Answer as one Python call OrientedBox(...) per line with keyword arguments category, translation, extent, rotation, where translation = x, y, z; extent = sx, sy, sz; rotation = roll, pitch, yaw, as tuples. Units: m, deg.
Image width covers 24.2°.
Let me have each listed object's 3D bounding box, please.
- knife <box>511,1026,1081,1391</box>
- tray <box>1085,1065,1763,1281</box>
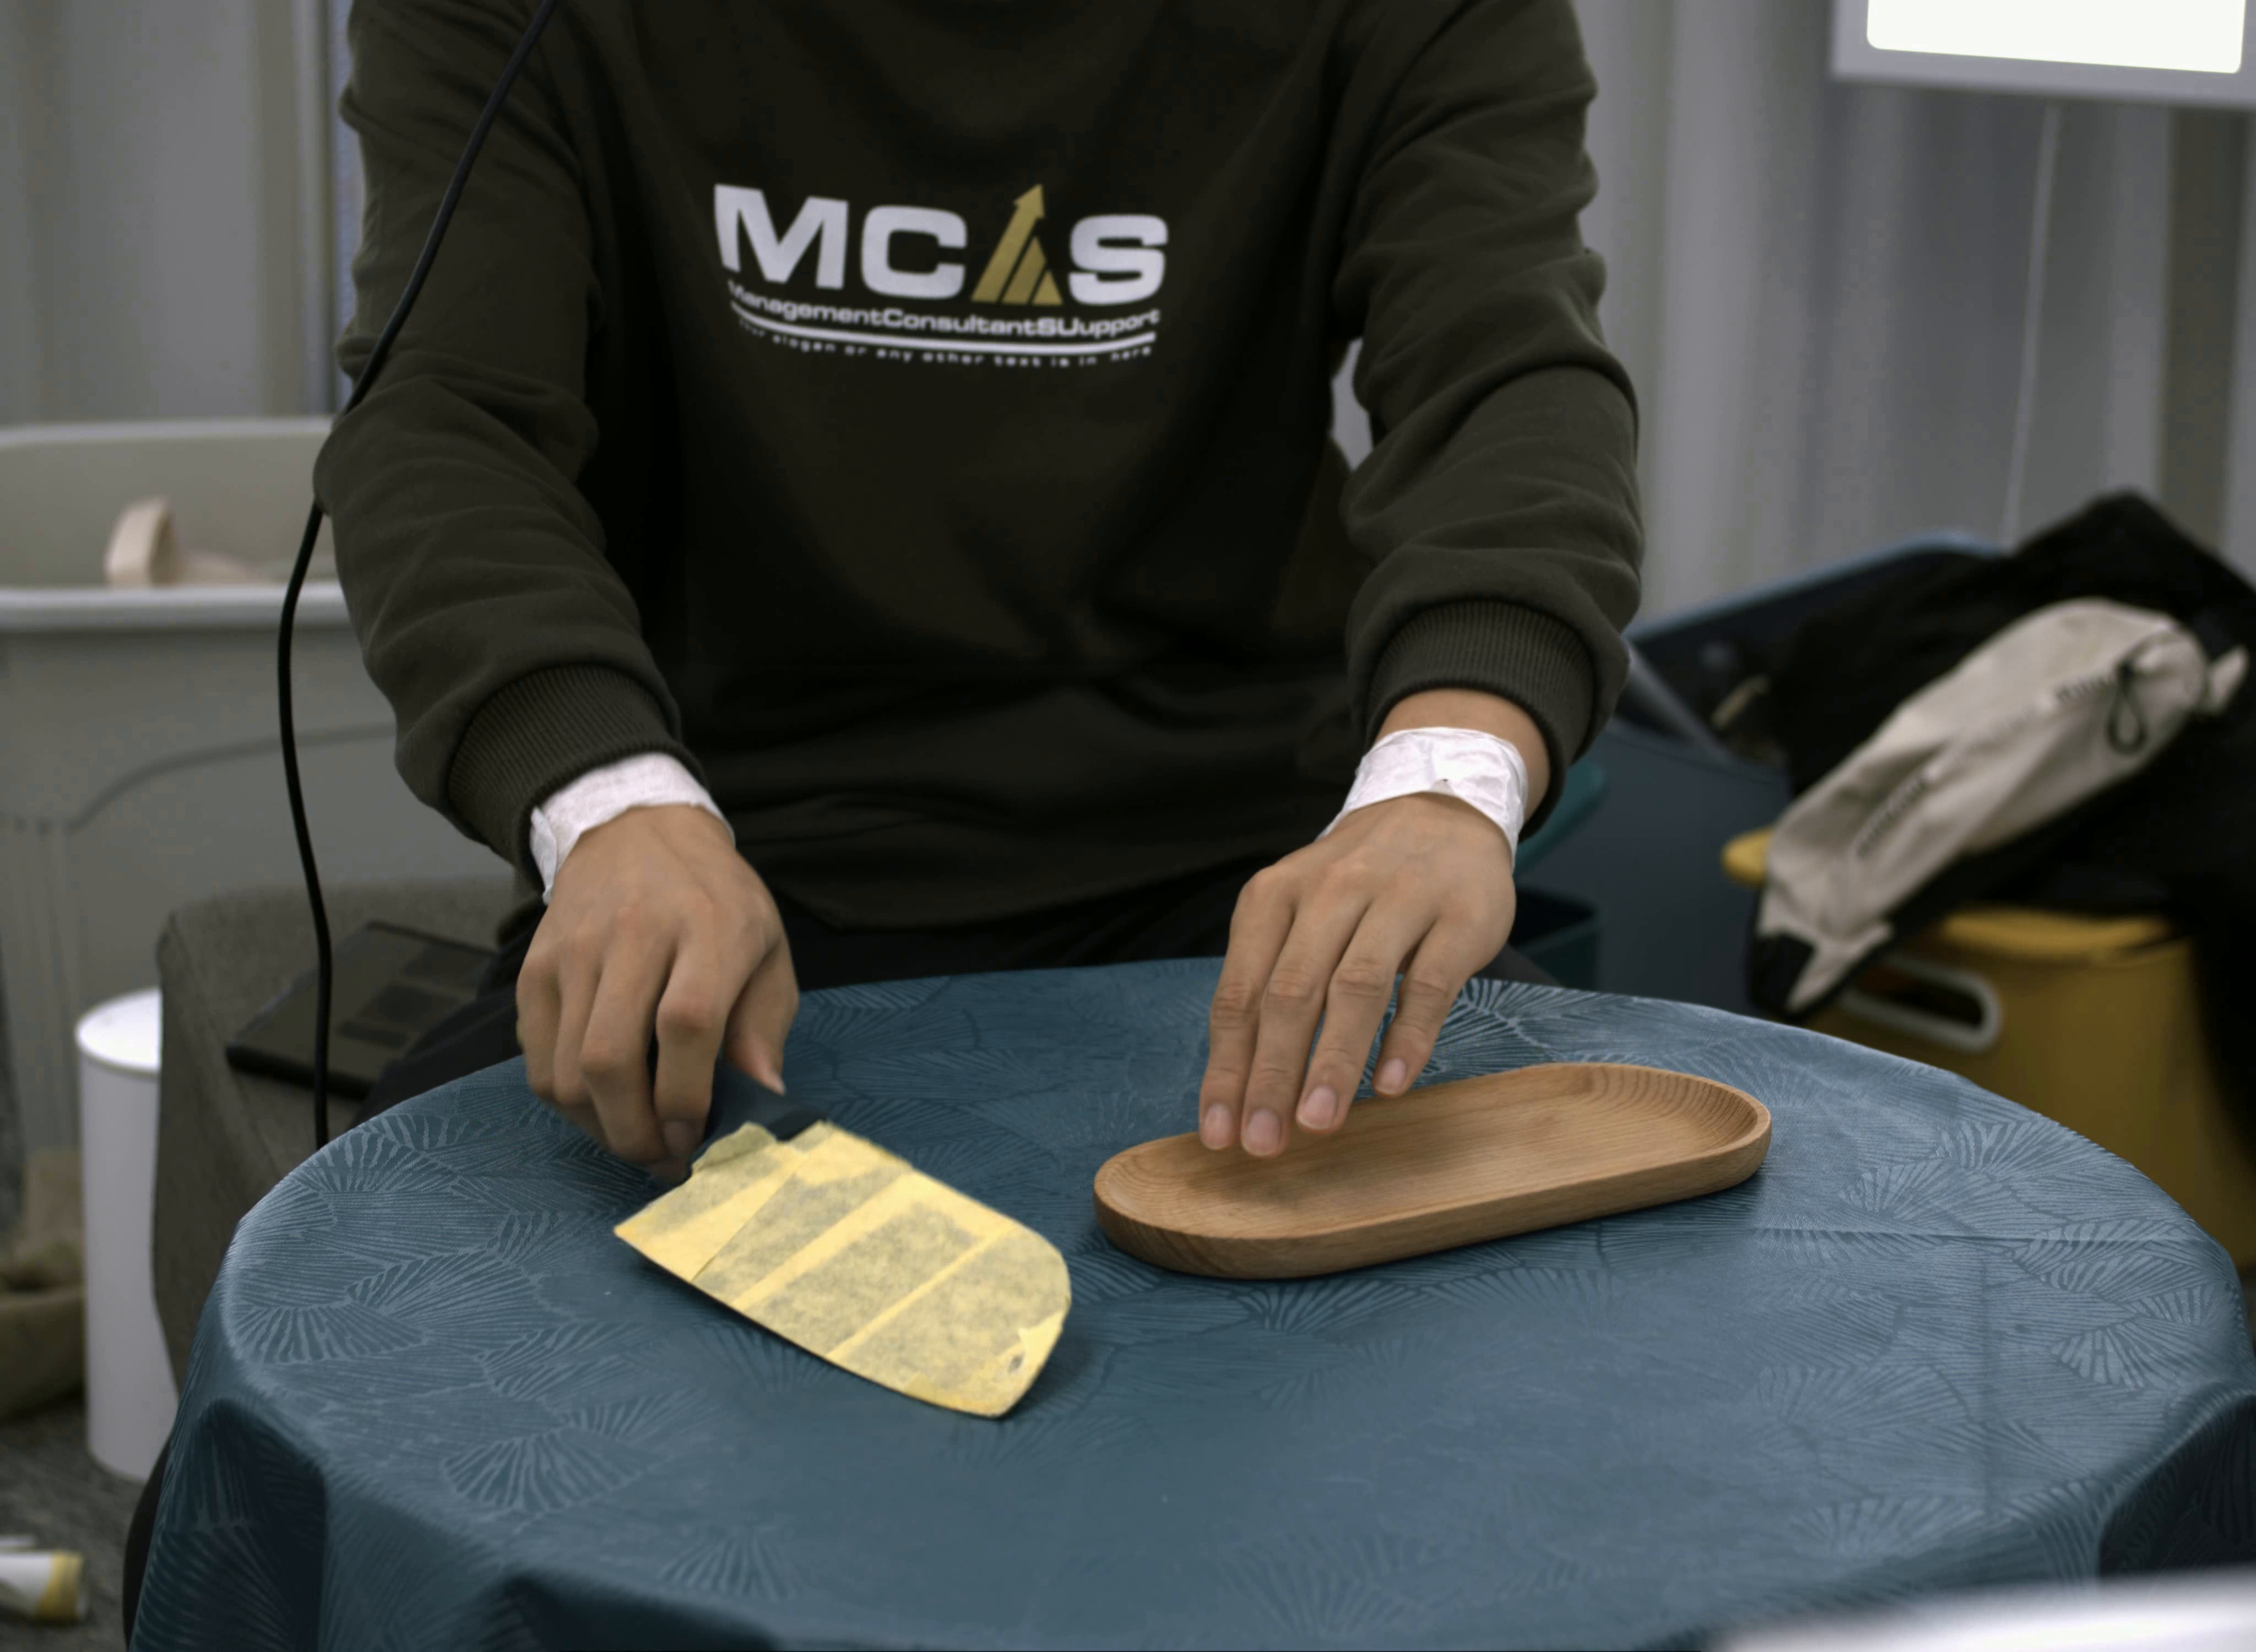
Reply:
OrientedBox(category="knife", translation=(-0.110, 0.112, 1.553), extent=(0.081, 0.027, 0.285), rotation=(-27, 31, -29))
OrientedBox(category="tray", translation=(0.093, 0.106, 1.620), extent=(0.232, 0.020, 0.100), rotation=(-10, 17, -31))
